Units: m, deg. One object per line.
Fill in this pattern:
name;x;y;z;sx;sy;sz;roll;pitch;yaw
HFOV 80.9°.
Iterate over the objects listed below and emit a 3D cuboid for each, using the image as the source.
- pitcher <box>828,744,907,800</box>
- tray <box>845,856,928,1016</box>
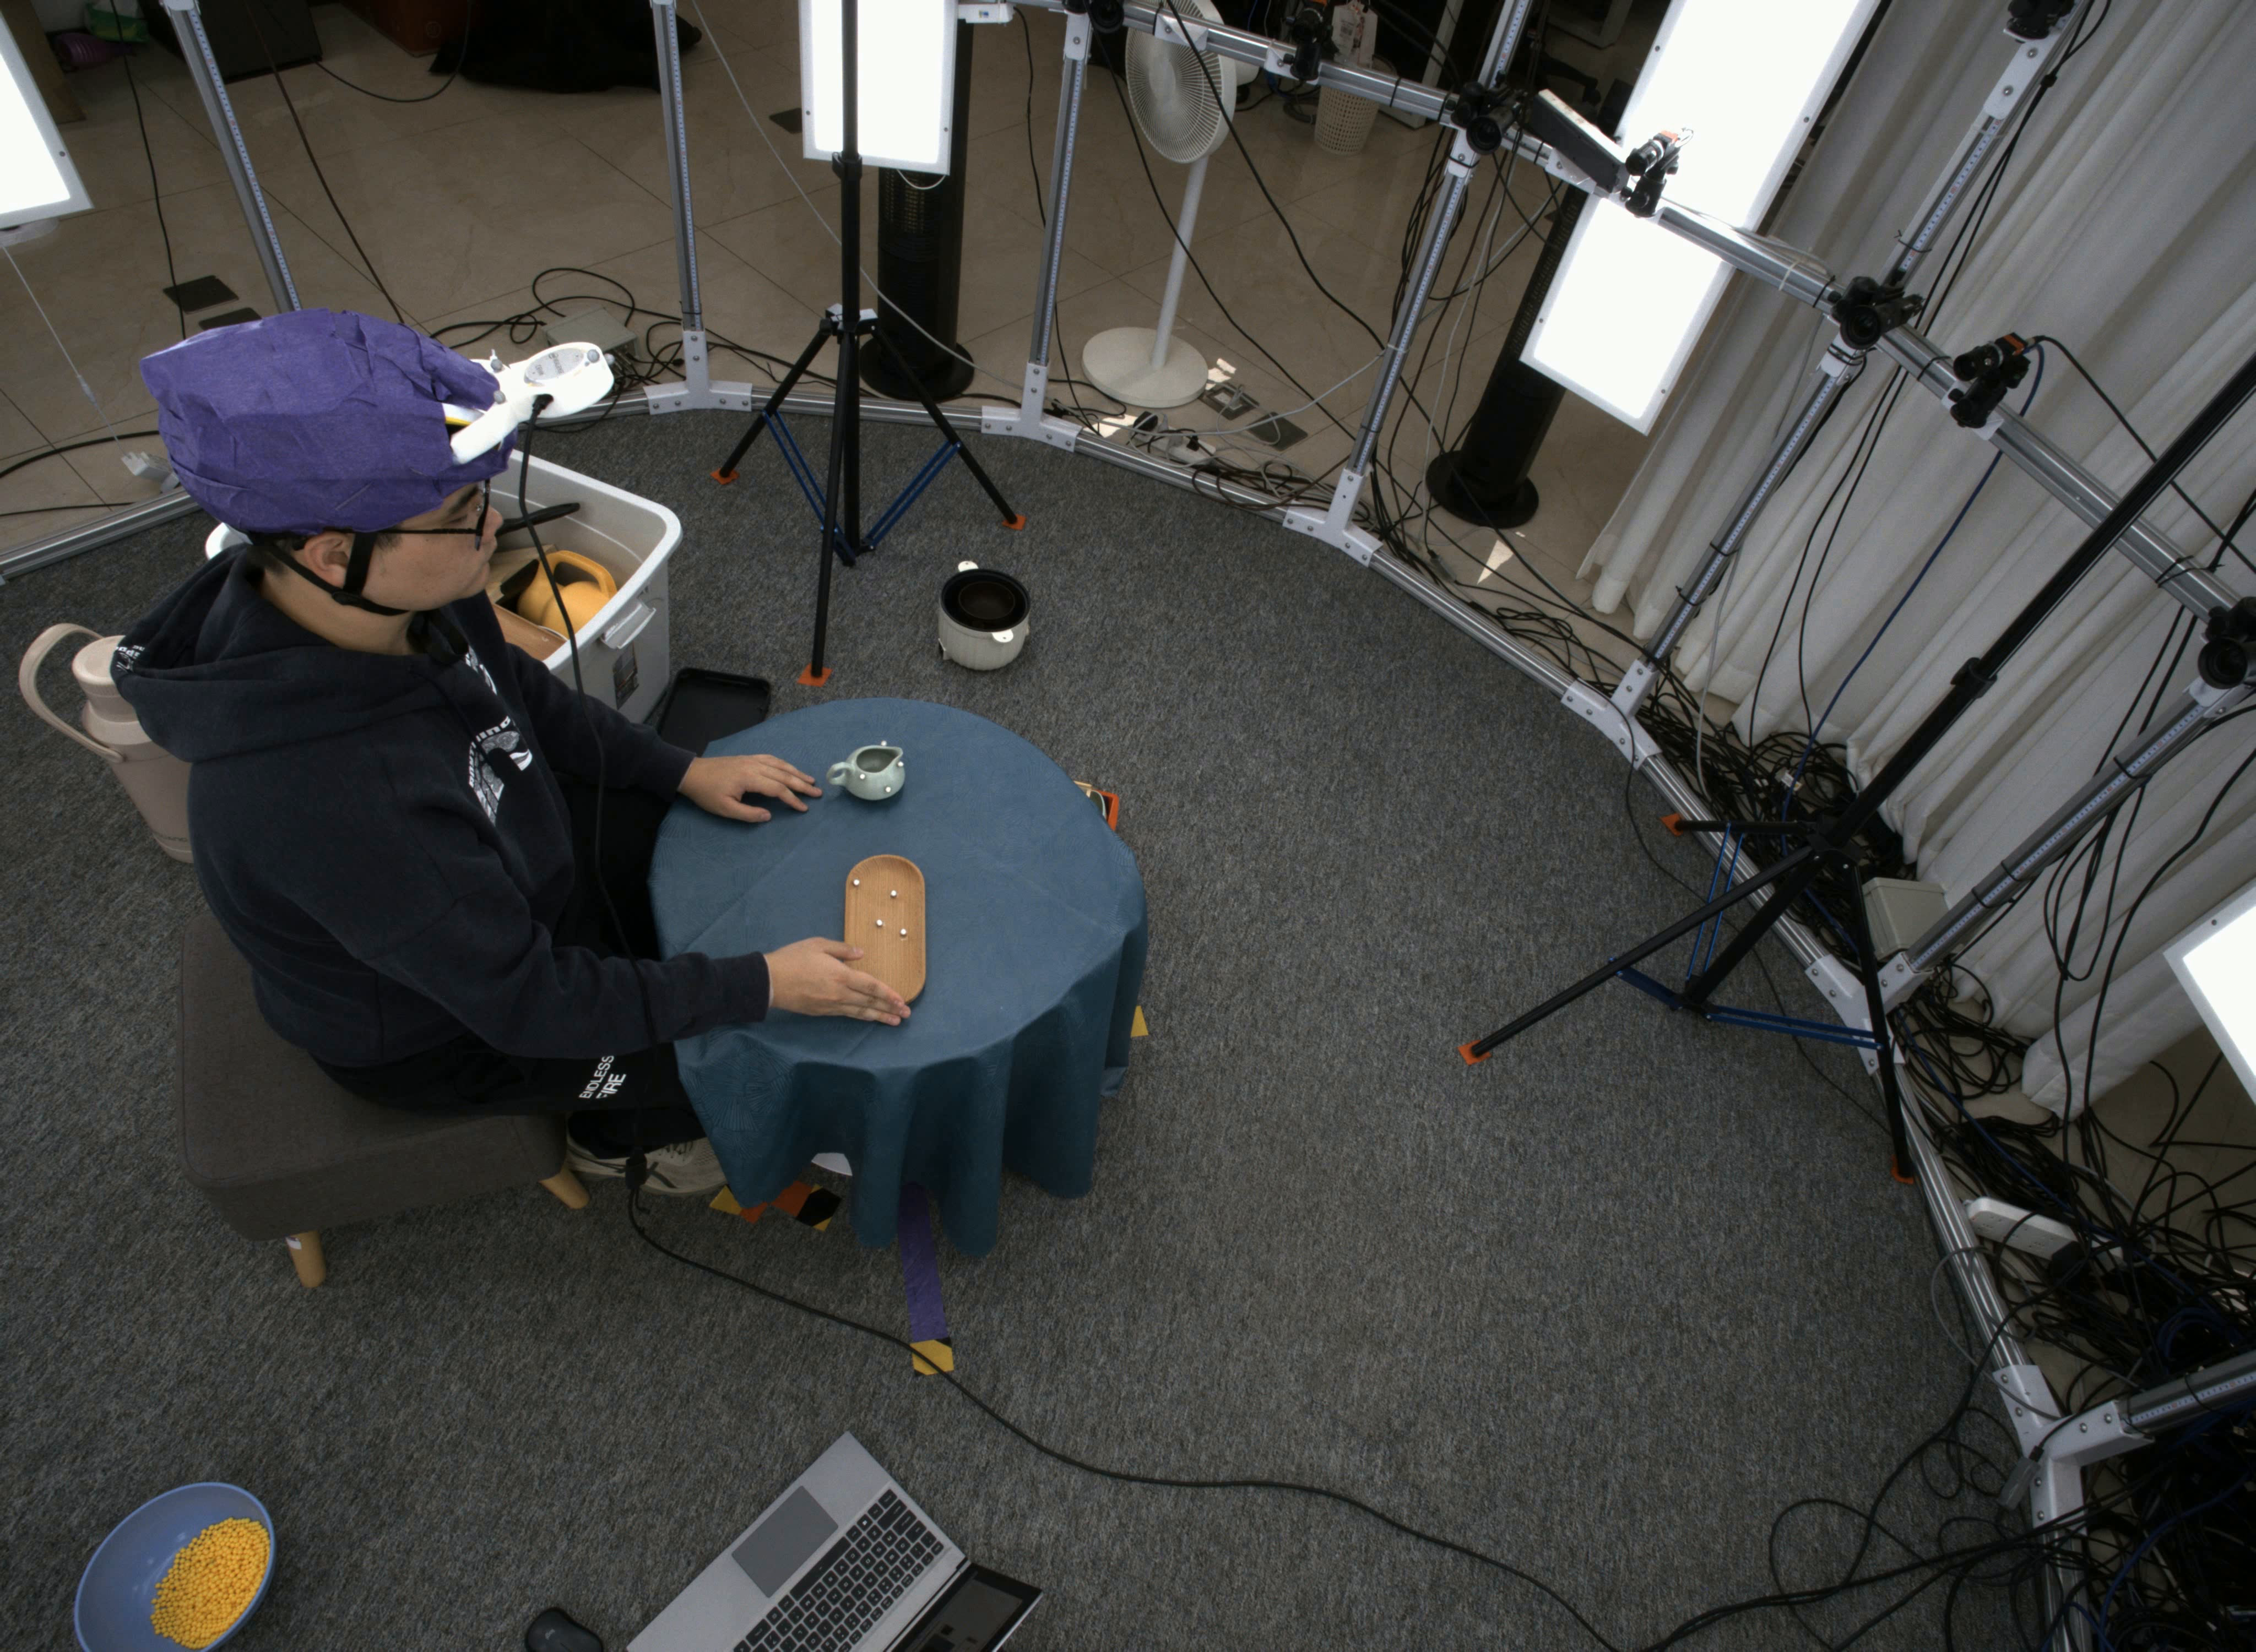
pitcher;-0.354;-0.073;1.757;0.108;0.062;0.084;-20;59;-23
tray;-0.305;0.134;1.639;0.102;0.021;0.226;1;56;-13
